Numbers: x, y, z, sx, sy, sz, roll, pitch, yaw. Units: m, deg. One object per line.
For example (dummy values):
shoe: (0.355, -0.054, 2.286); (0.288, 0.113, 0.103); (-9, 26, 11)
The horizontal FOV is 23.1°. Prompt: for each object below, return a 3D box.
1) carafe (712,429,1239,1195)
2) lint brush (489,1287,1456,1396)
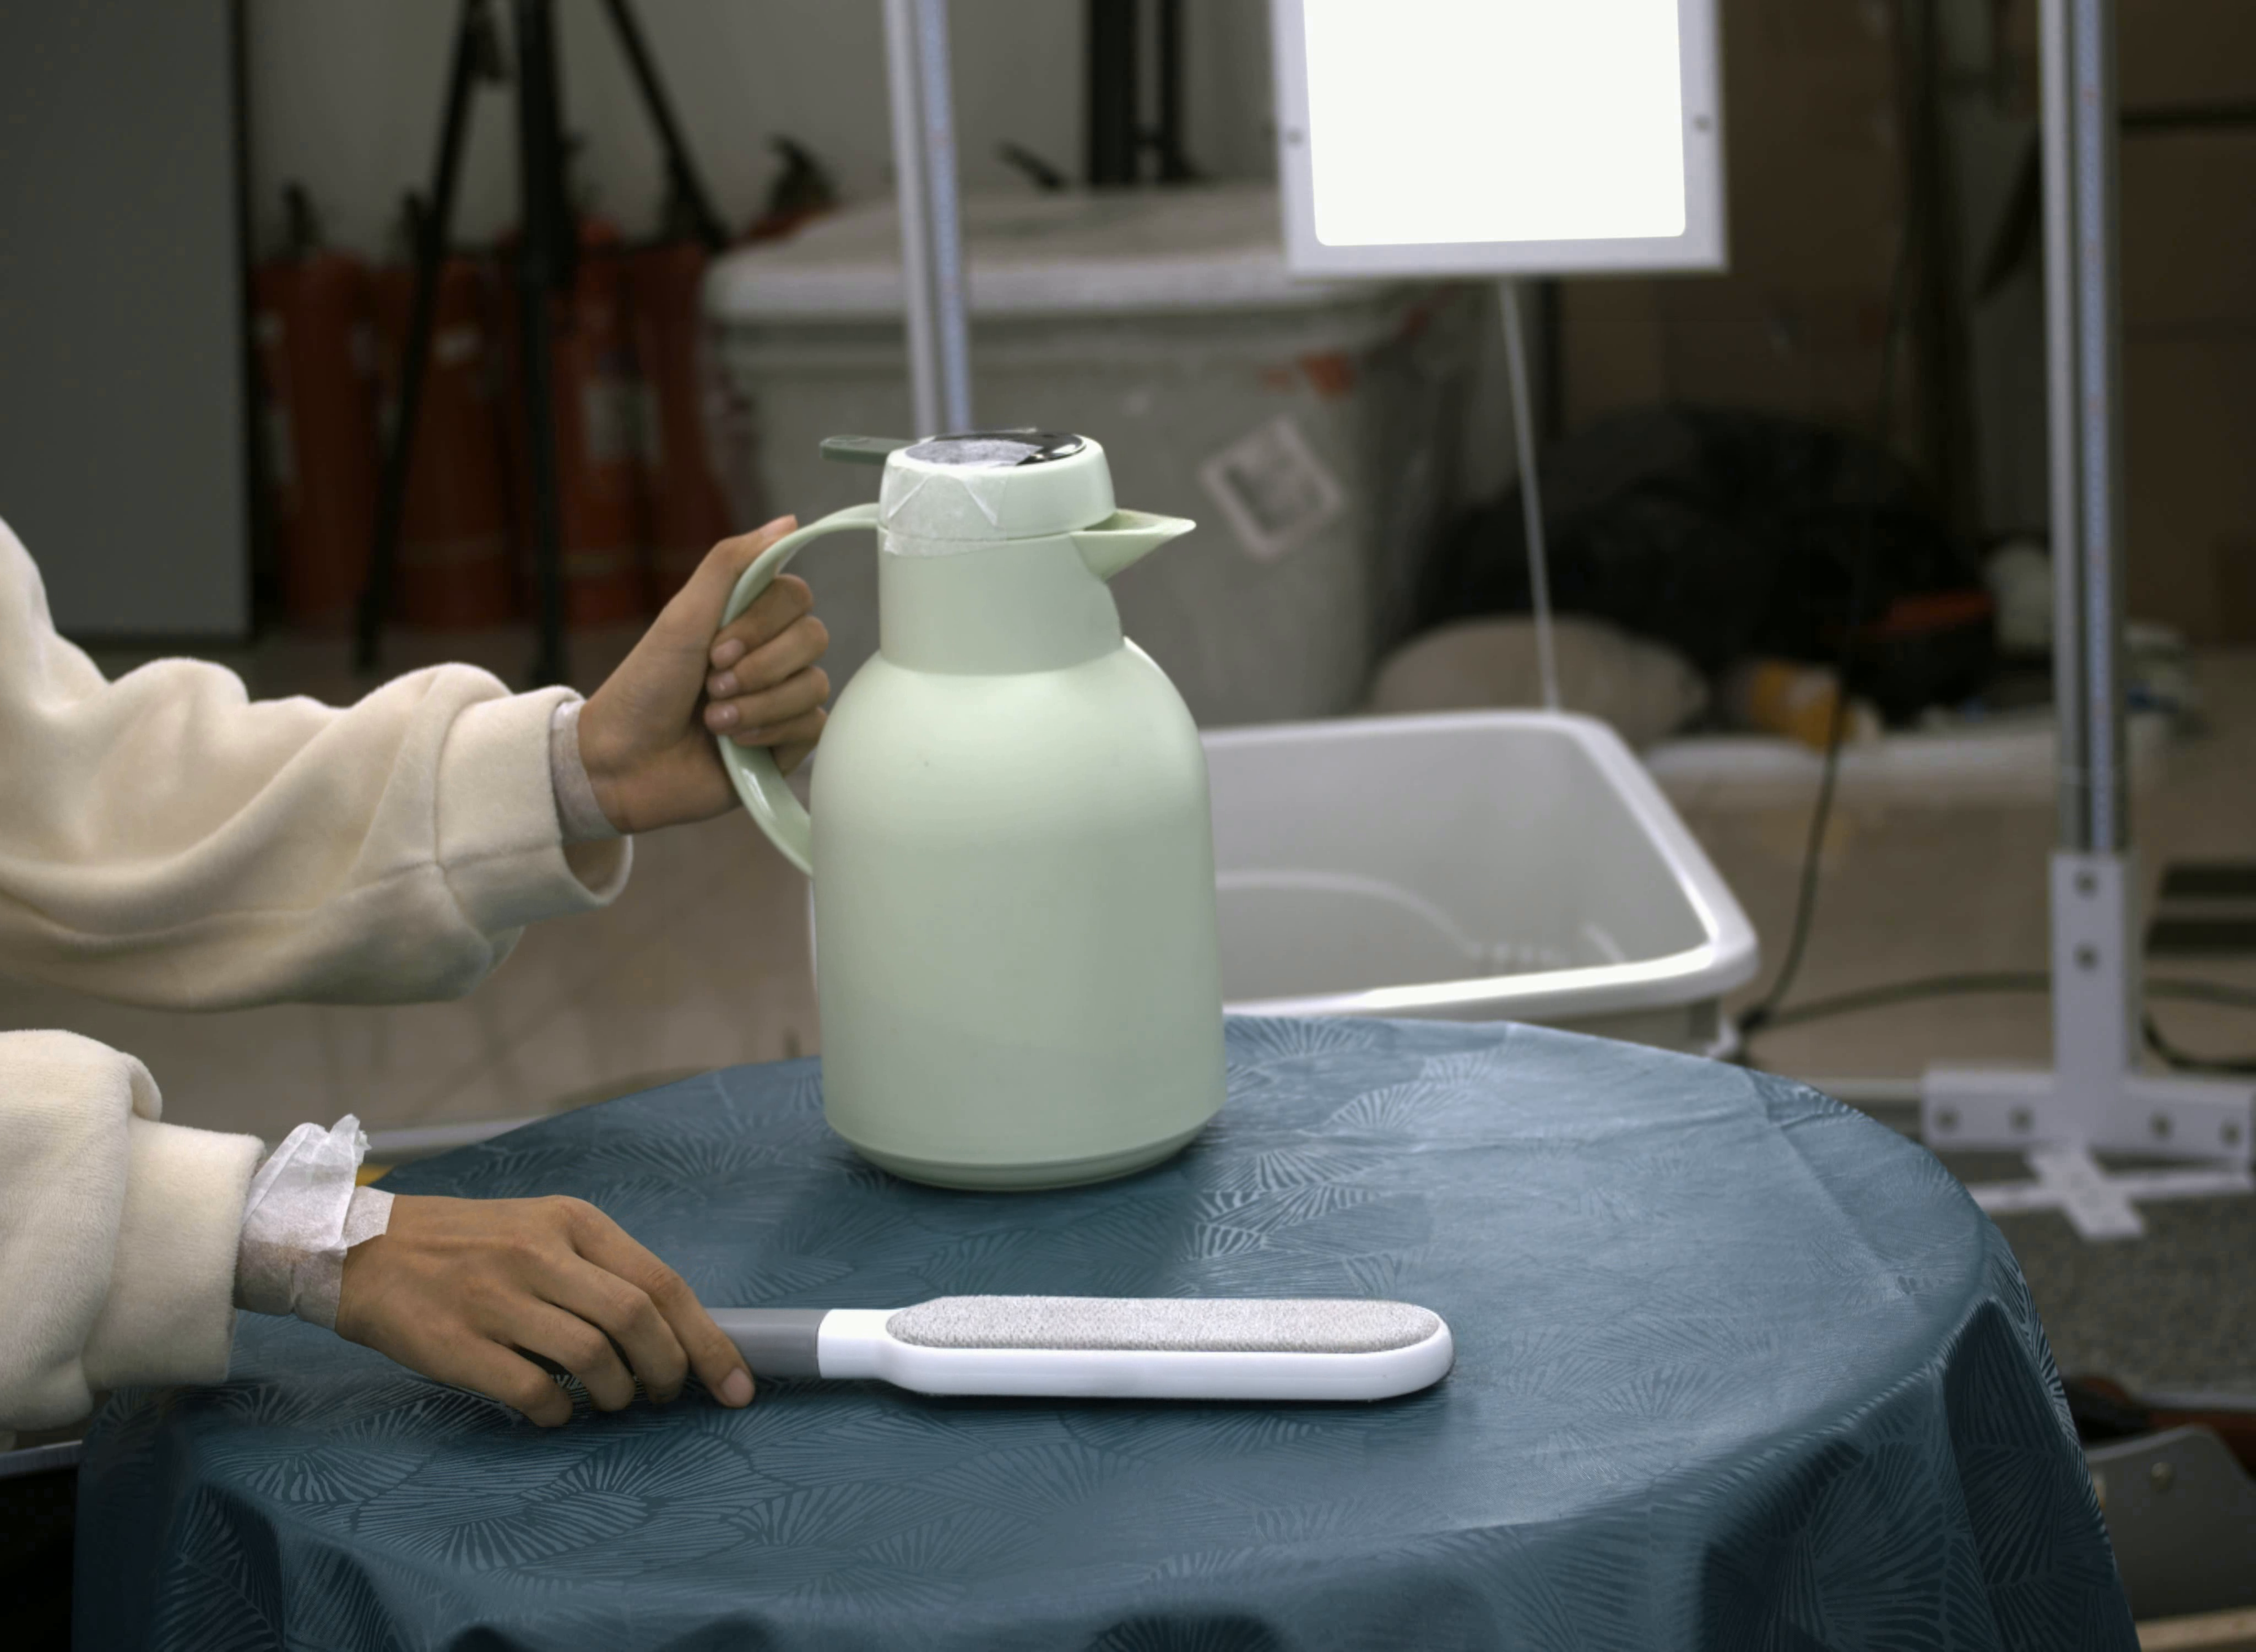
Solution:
carafe: (-0.053, -0.010, 1.939); (0.190, 0.257, 0.141); (1, 17, 26)
lint brush: (-0.051, 0.159, 1.719); (0.311, 0.021, 0.059); (0, 16, 14)
